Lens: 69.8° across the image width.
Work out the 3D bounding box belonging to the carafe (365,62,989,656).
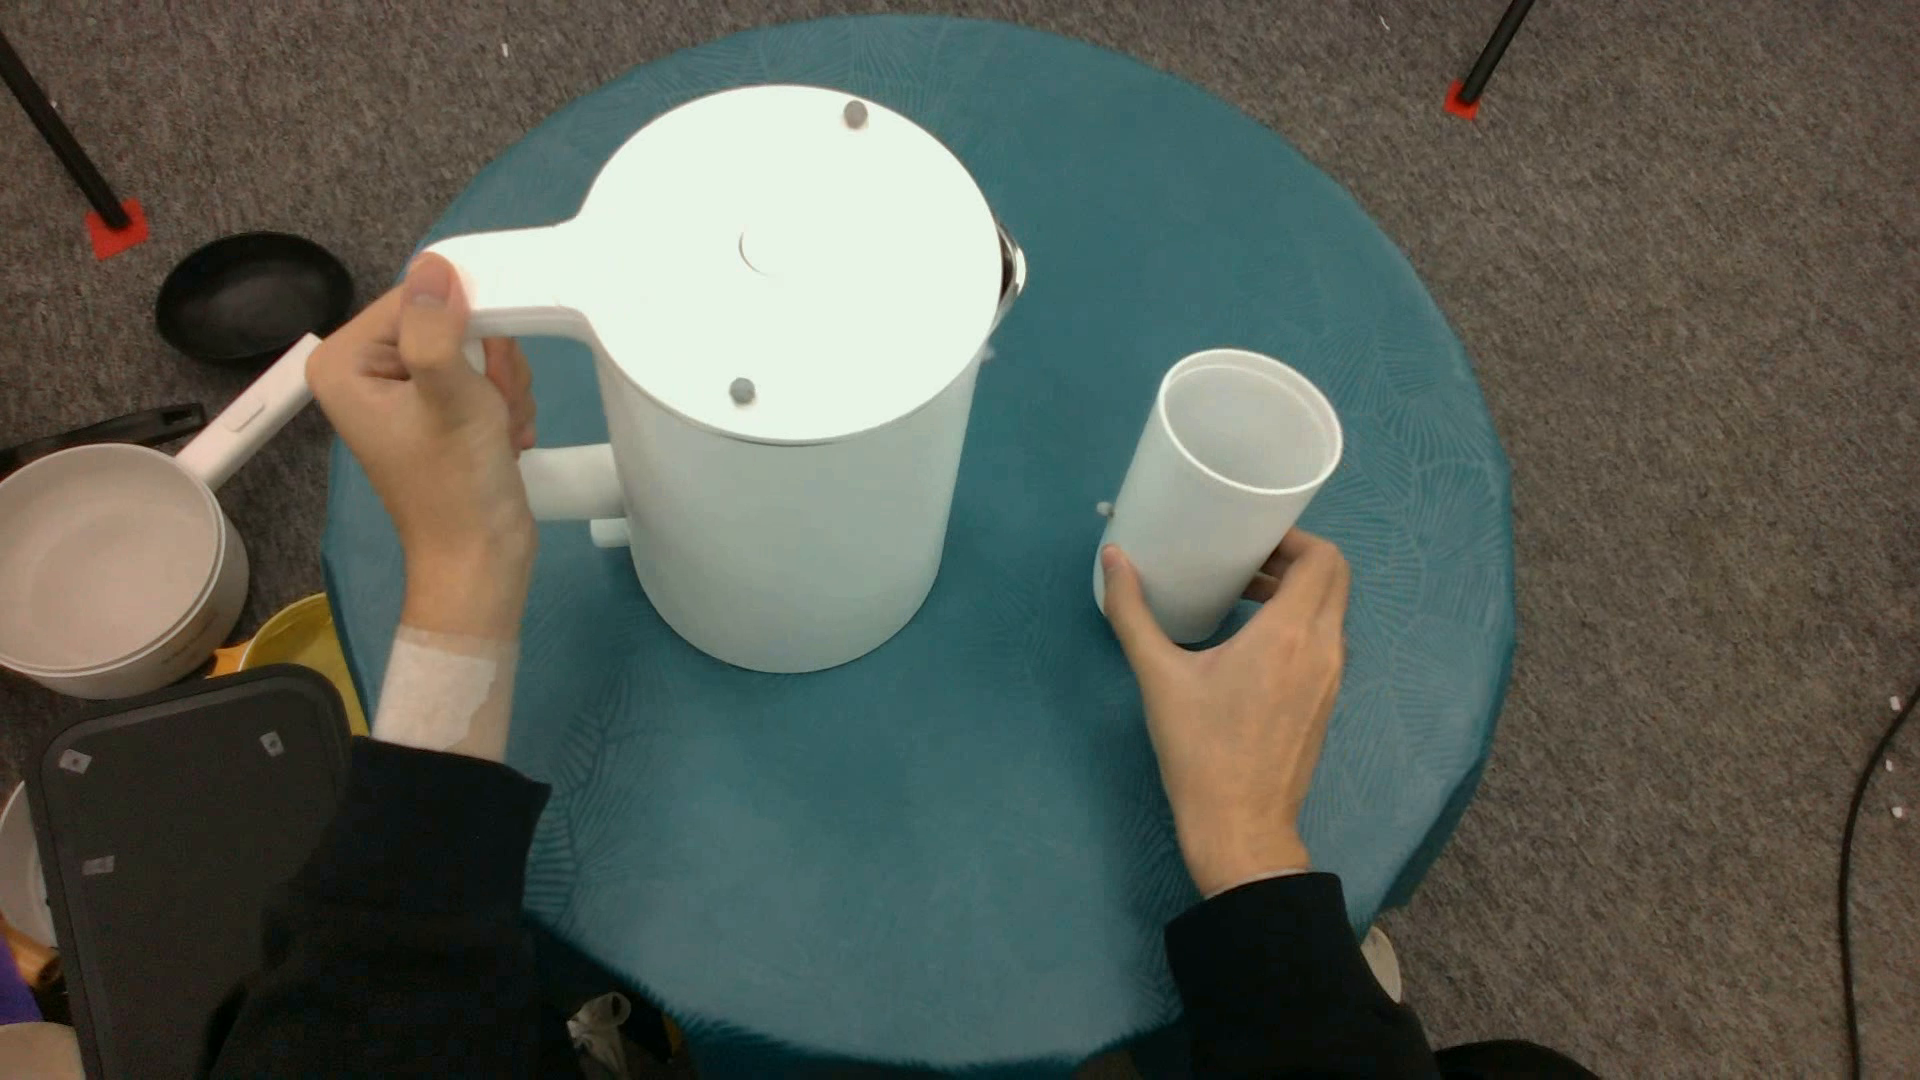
[{"bbox_3d":[-0.109,-0.060,0.562,0.213,0.239,0.152,-5,66,-11],"label":"carafe"}]

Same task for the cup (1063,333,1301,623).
[{"bbox_3d":[0.094,-0.023,0.632,0.082,0.125,0.082,6,54,-9],"label":"cup"}]
